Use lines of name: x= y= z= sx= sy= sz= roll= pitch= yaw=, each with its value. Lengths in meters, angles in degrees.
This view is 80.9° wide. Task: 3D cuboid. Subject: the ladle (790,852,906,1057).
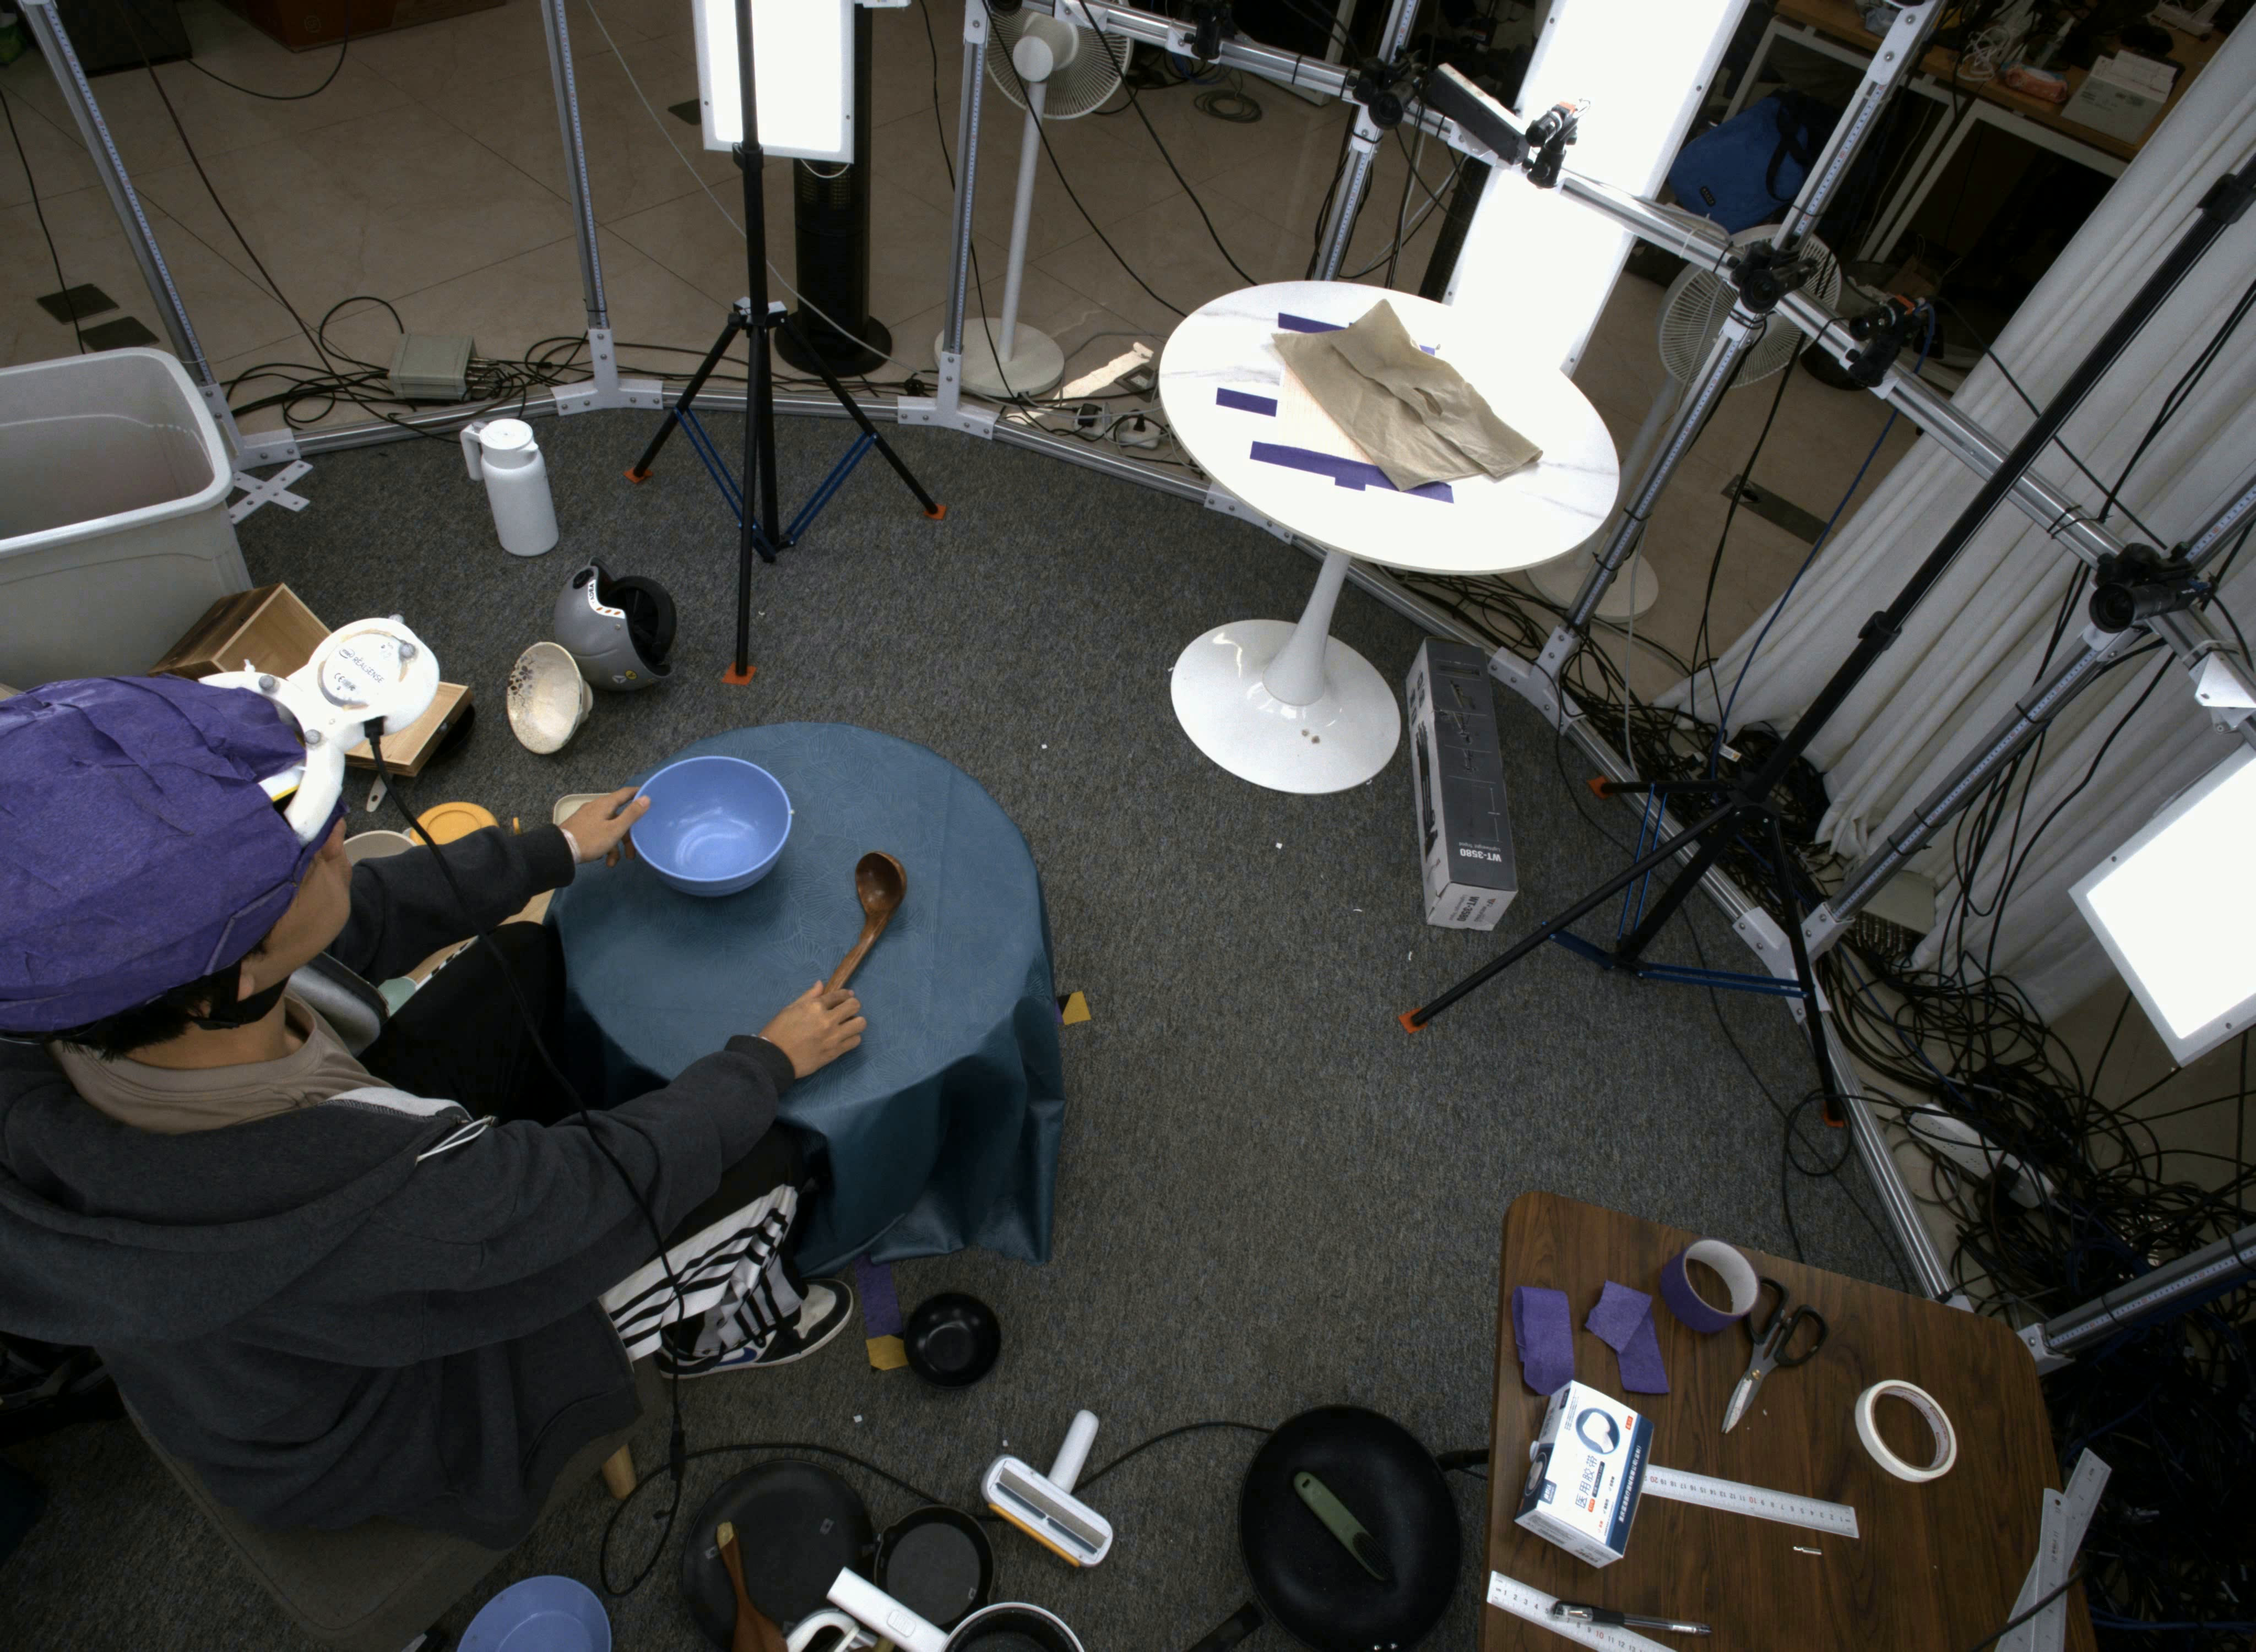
ladle: x=-0.353 y=0.147 z=1.591 sx=0.079 sy=0.079 sz=0.272 roll=-5 pitch=43 yaw=36

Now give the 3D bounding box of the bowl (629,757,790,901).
bowl: x=-0.525 y=0.018 z=1.628 sx=0.196 sy=0.097 sz=0.193 roll=8 pitch=53 yaw=-9
